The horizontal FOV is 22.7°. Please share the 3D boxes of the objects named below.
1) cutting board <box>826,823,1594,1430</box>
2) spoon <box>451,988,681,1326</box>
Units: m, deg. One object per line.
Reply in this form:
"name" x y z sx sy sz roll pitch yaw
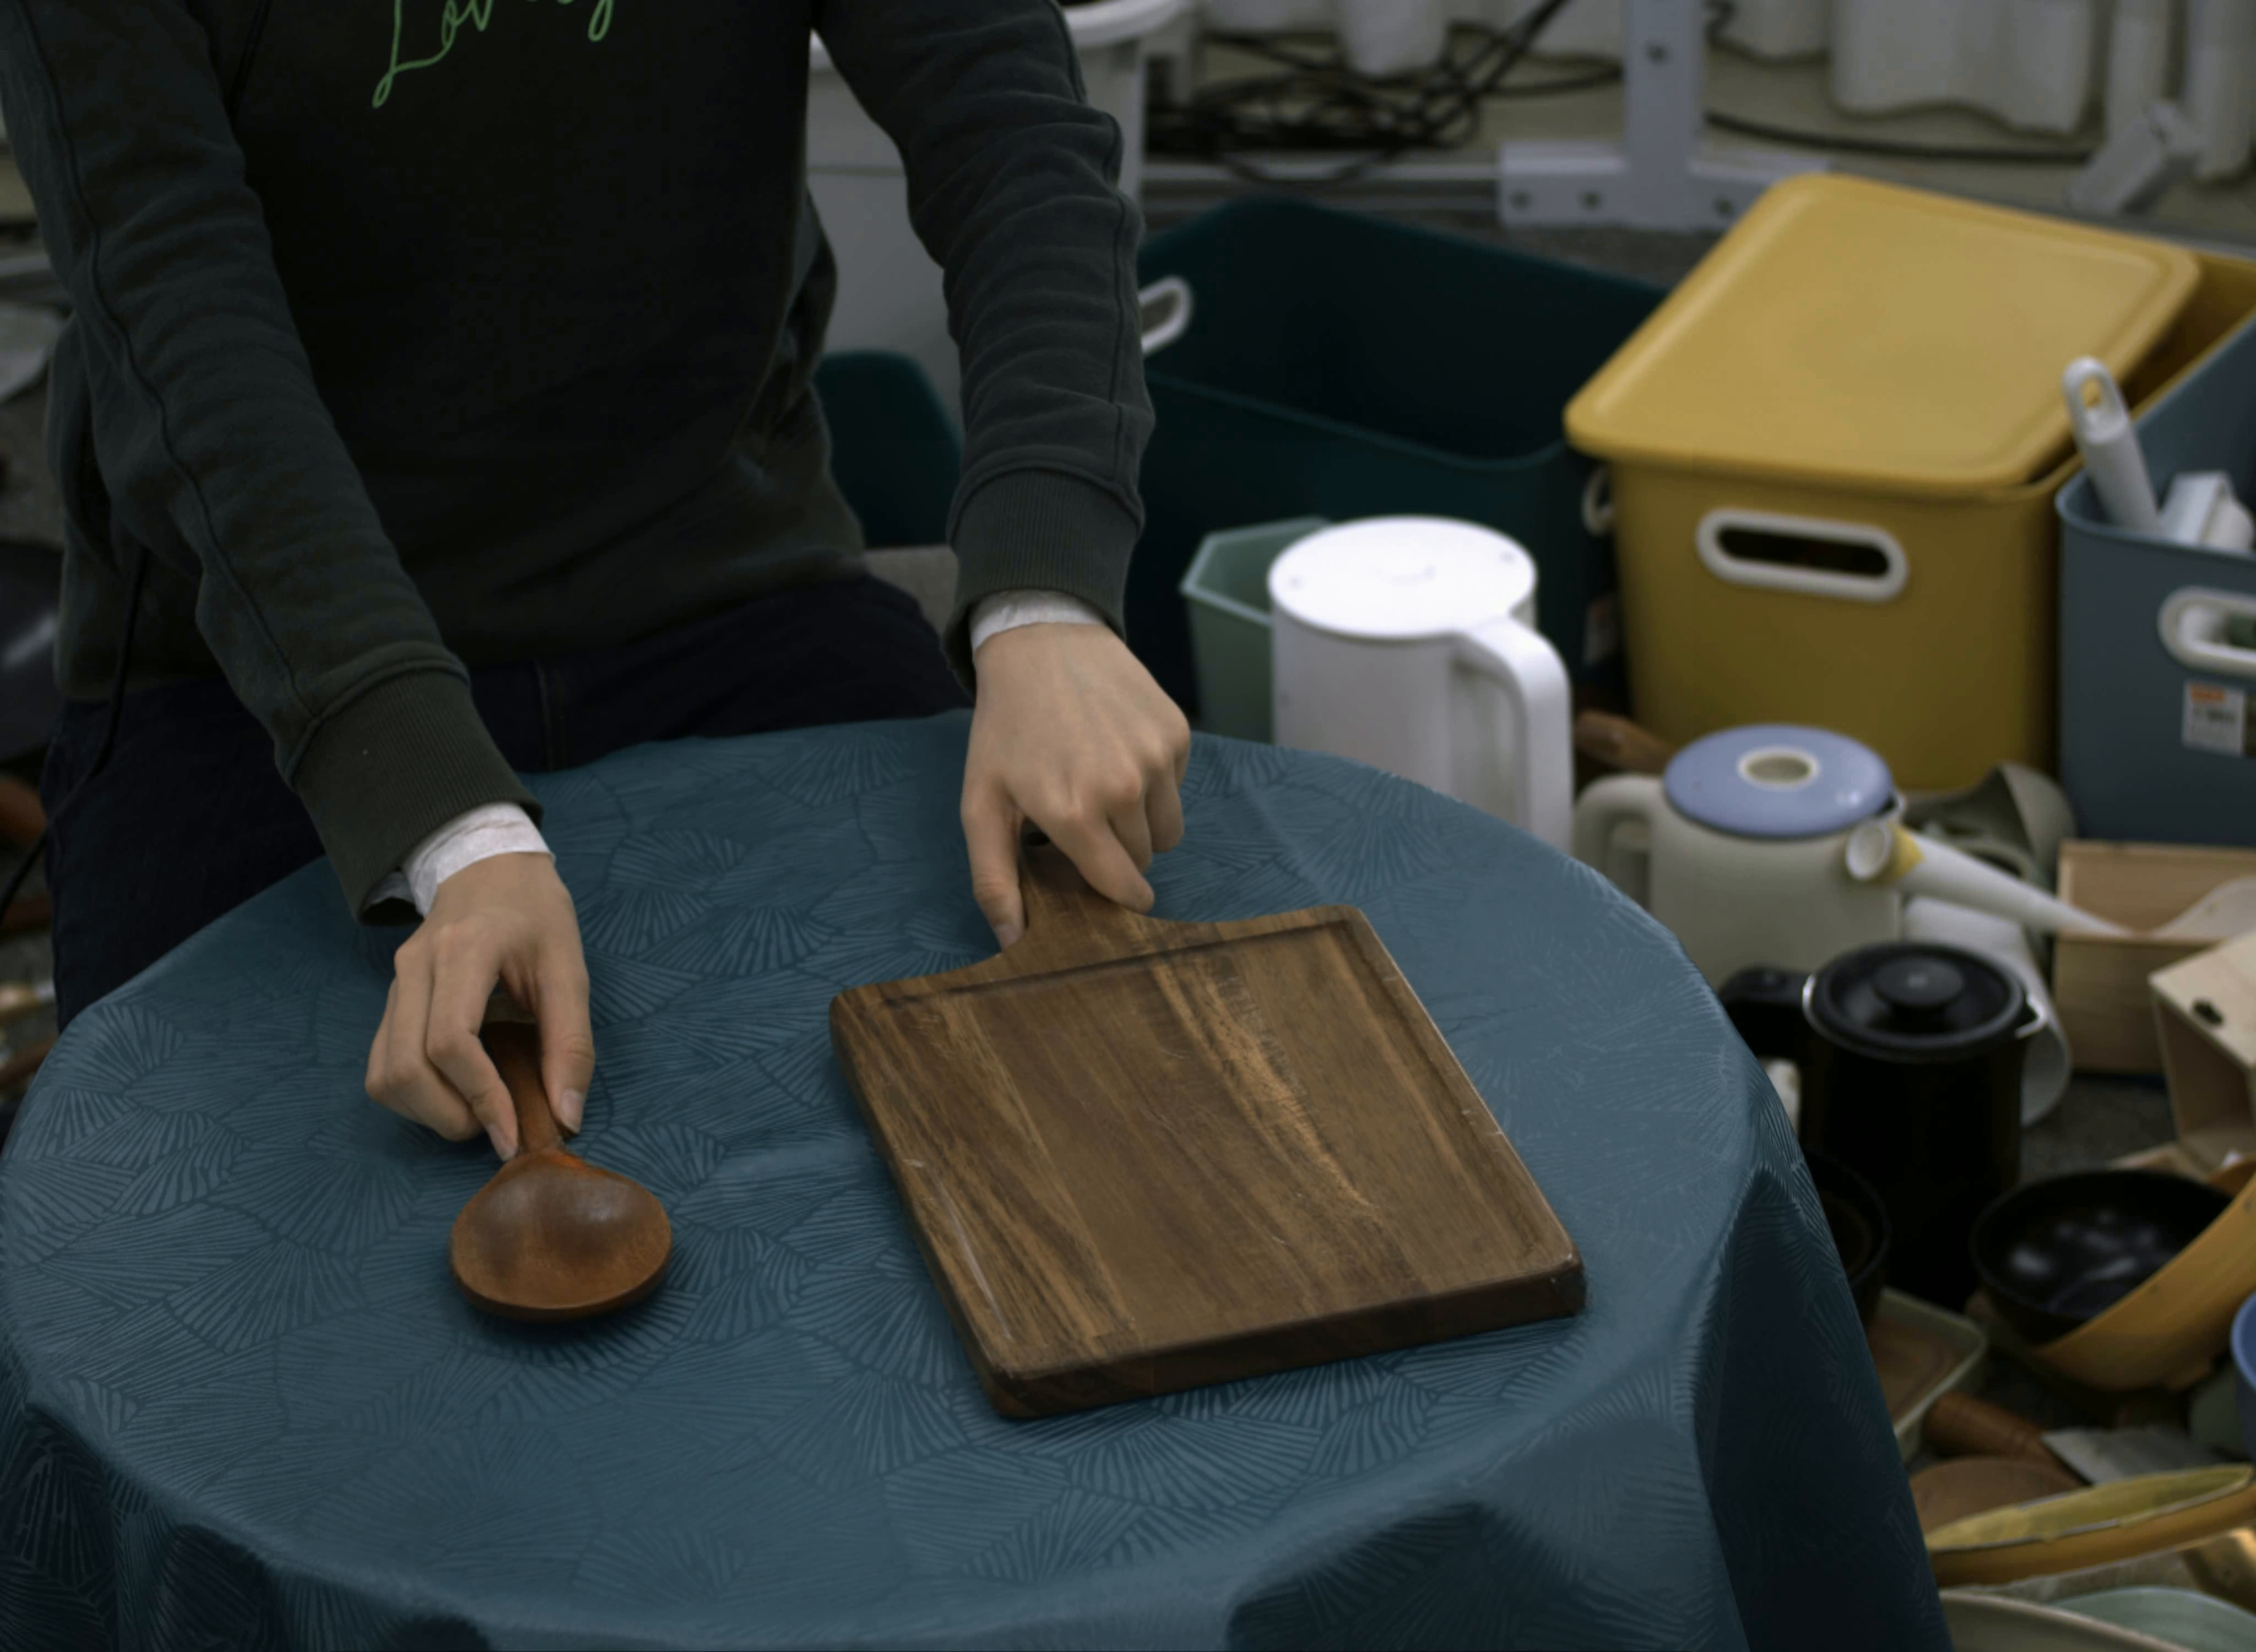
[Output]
"cutting board" 0.009 0.086 1.907 0.201 0.023 0.356 -10 29 -12
"spoon" -0.195 0.111 1.881 0.075 0.017 0.218 -9 28 -8
